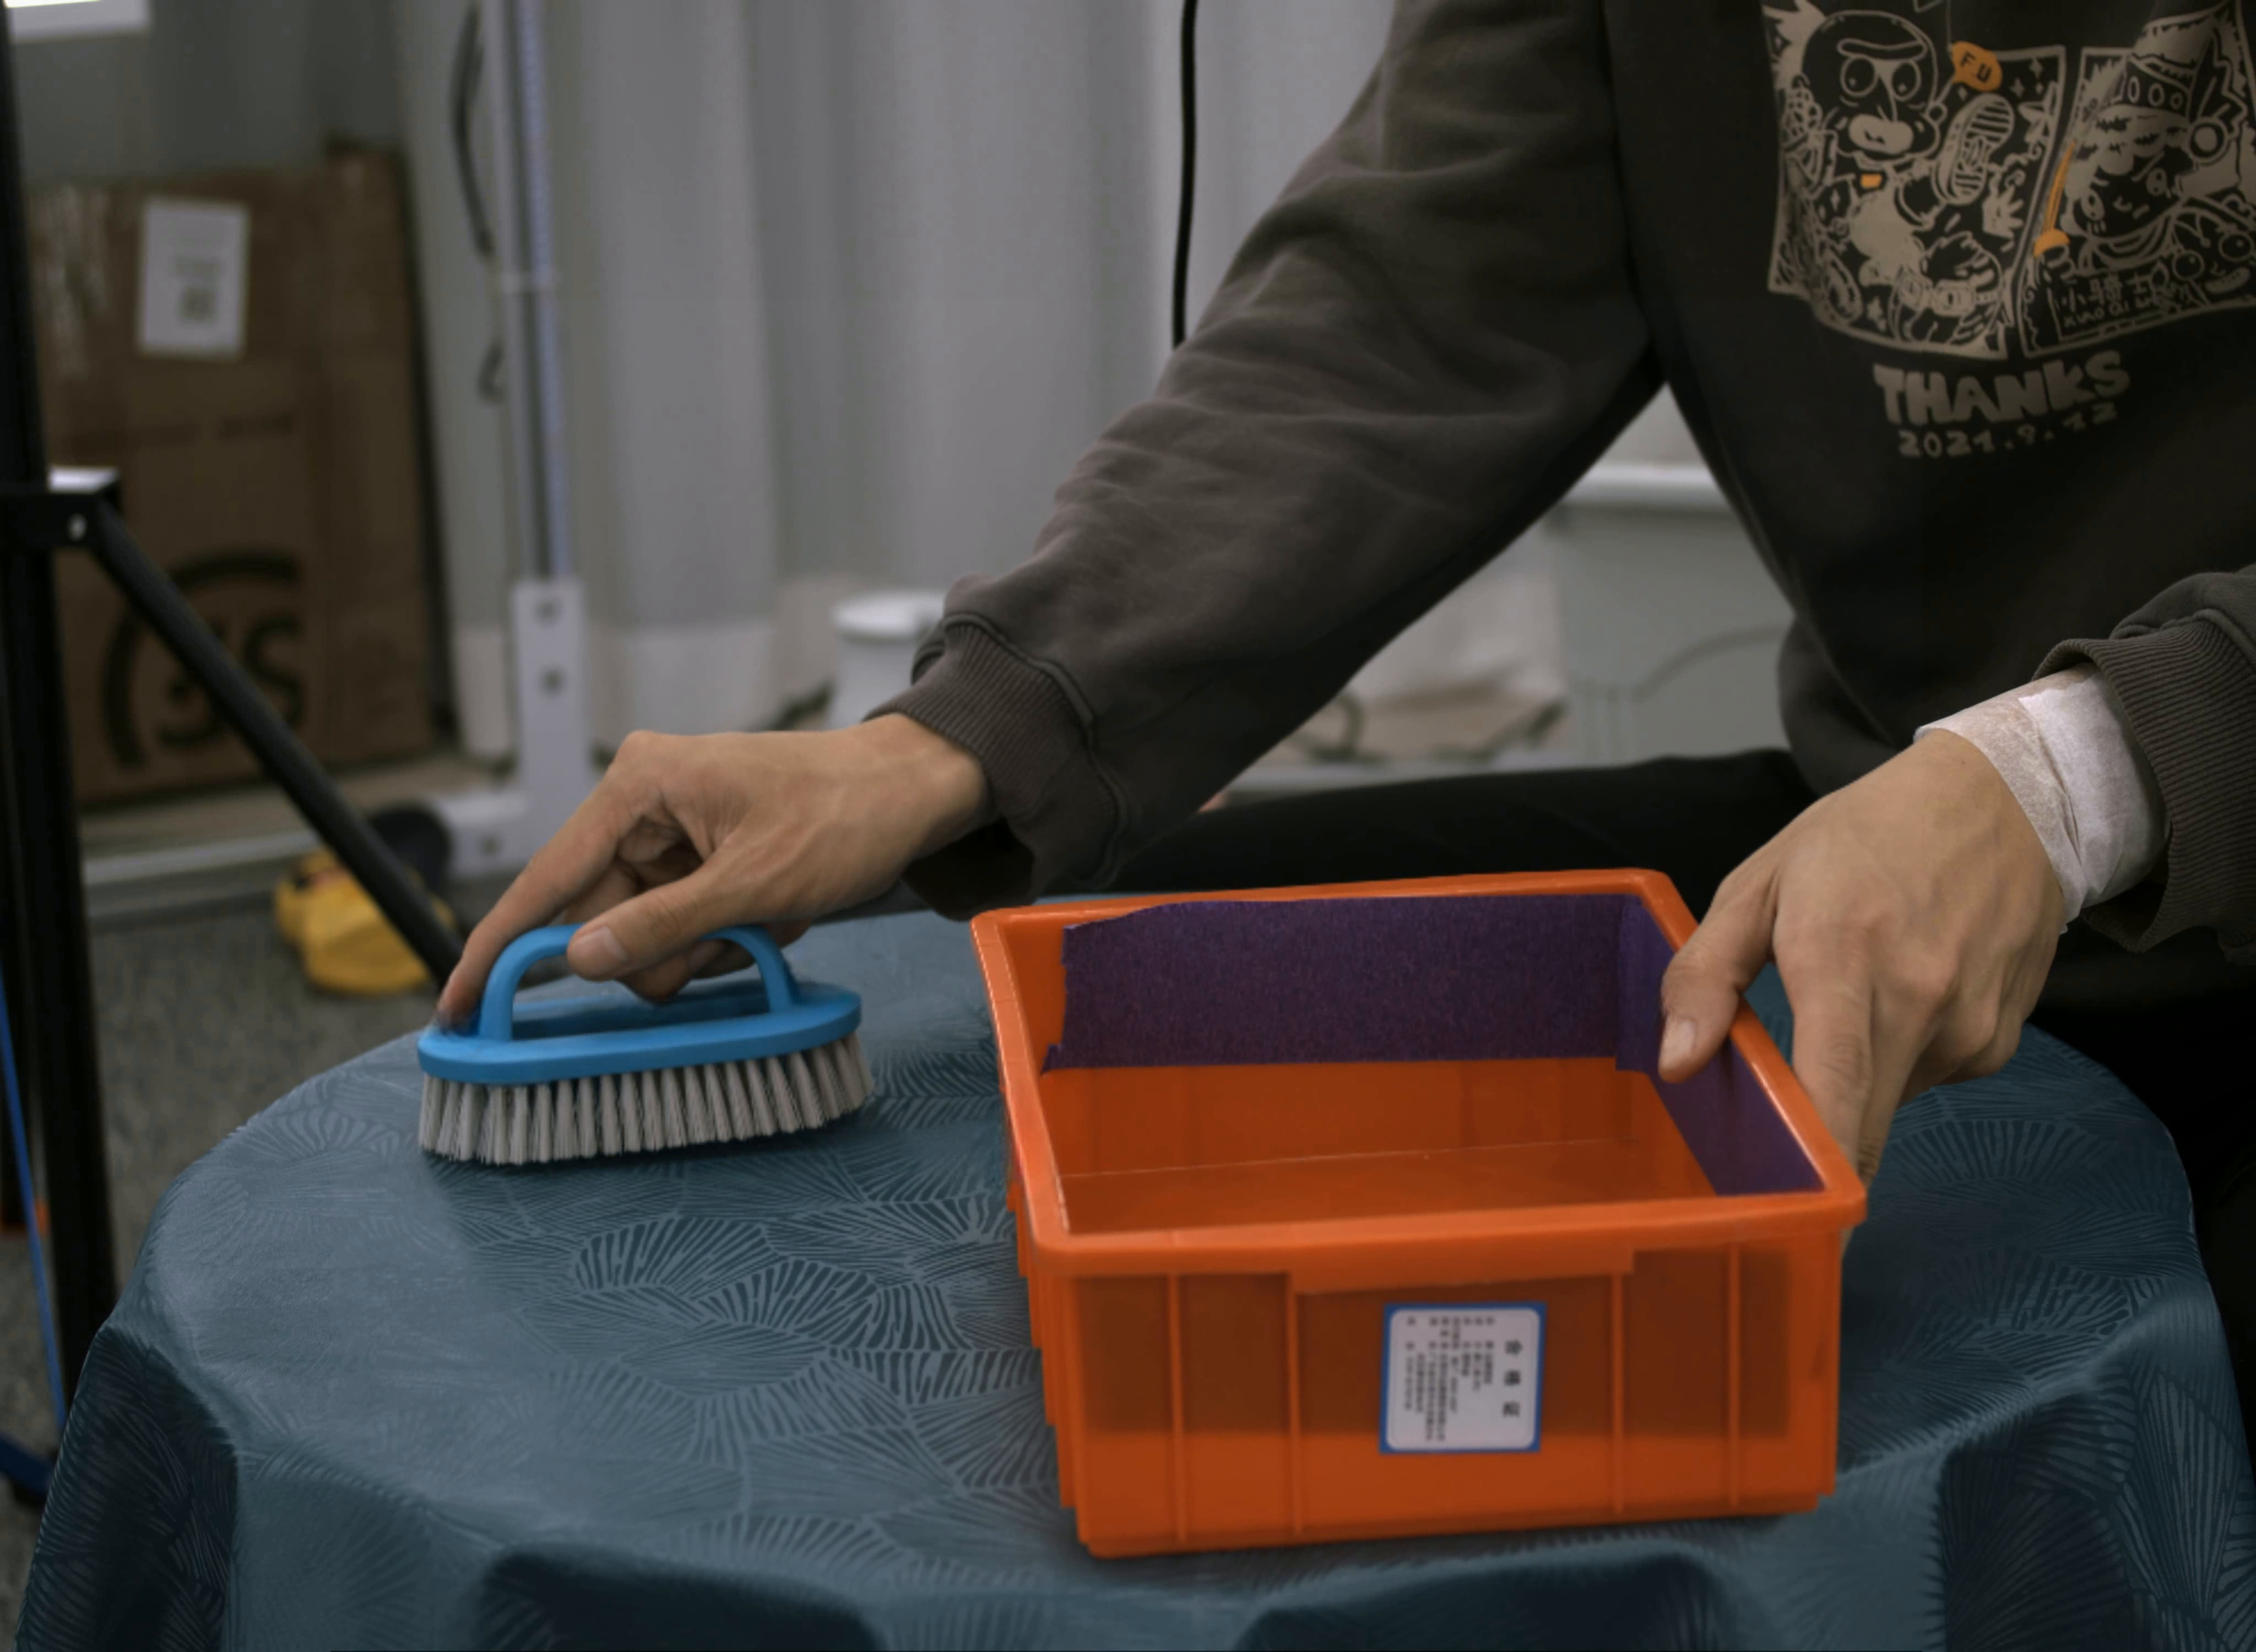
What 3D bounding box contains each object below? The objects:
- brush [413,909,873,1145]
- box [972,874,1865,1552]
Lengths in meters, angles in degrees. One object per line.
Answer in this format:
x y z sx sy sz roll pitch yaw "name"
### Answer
-0.149 0.059 1.635 0.140 0.064 0.085 -4 9 -5 "brush"
0.069 0.099 1.425 0.205 0.096 0.305 -3 16 -3 "box"
